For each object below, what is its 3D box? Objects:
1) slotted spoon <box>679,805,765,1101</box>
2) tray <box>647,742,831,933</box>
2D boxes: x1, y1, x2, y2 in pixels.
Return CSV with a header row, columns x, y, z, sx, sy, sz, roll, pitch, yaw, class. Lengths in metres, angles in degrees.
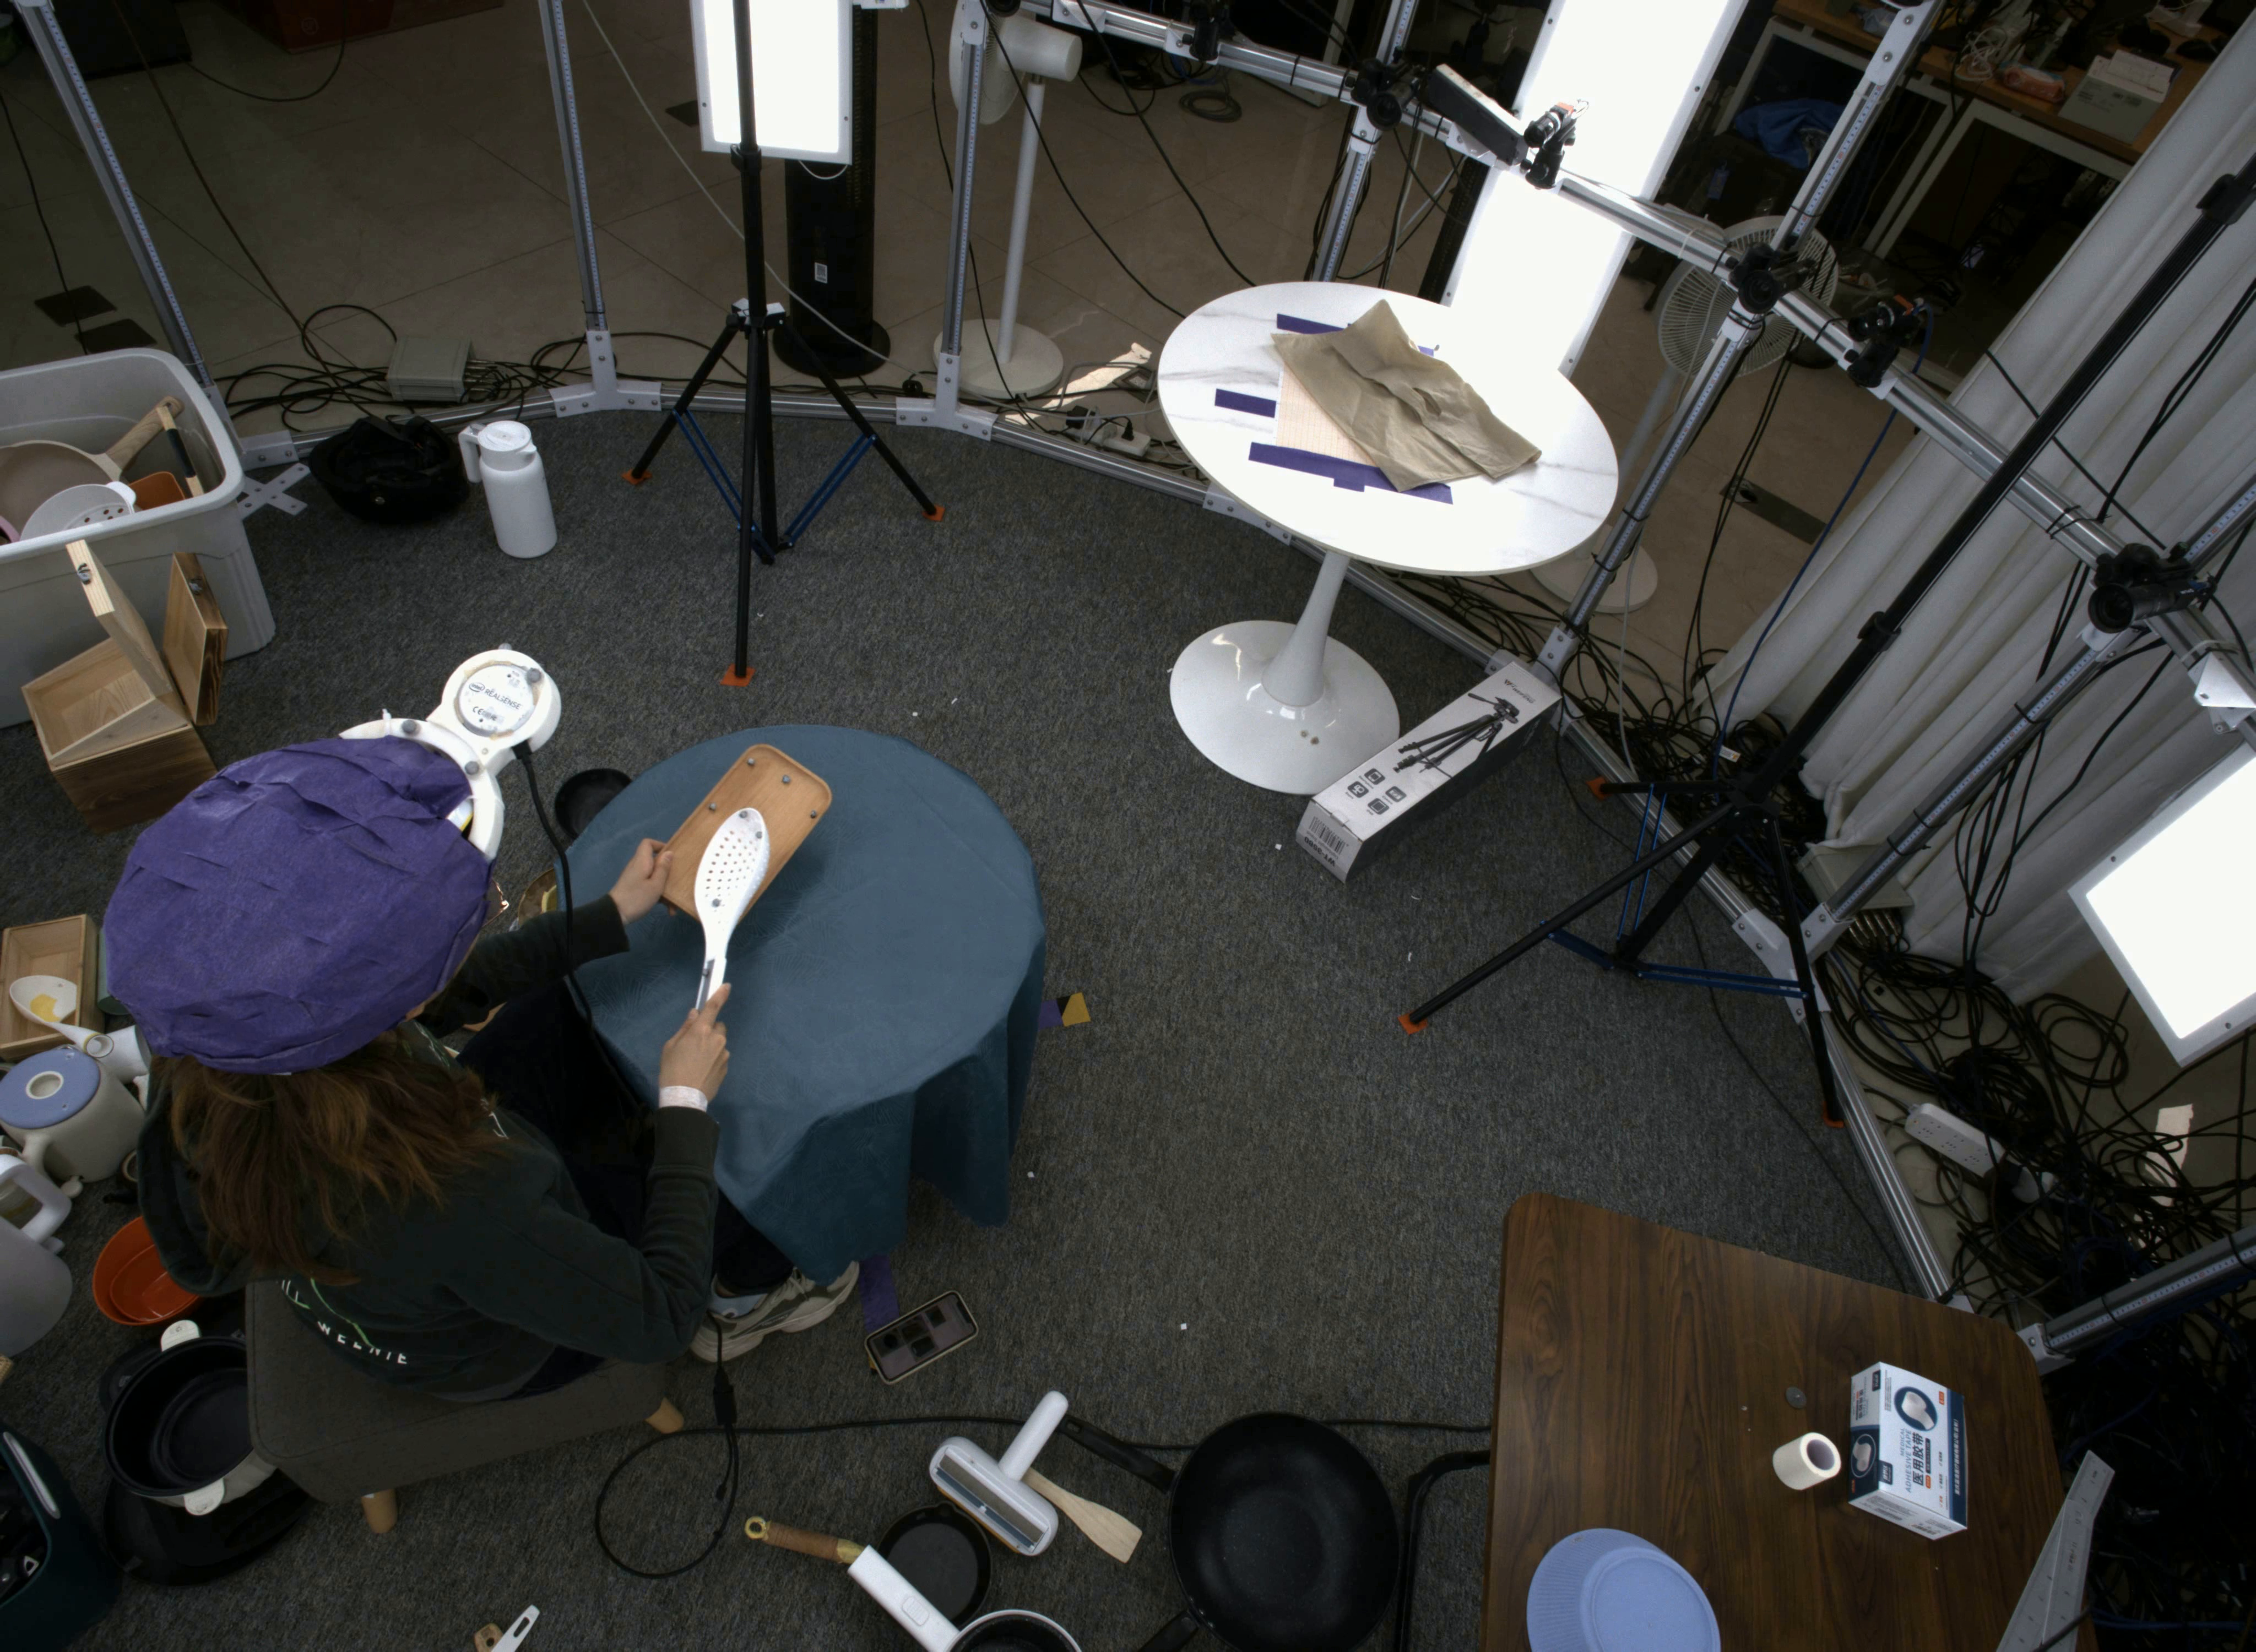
x,y,z,sx,sy,sz,roll,pitch,yaw,class
-0.467,0.135,1.456,0.047,0.133,0.345,32,50,-37,slotted spoon
-0.478,0.011,1.597,0.131,0.023,0.249,35,57,-6,tray
